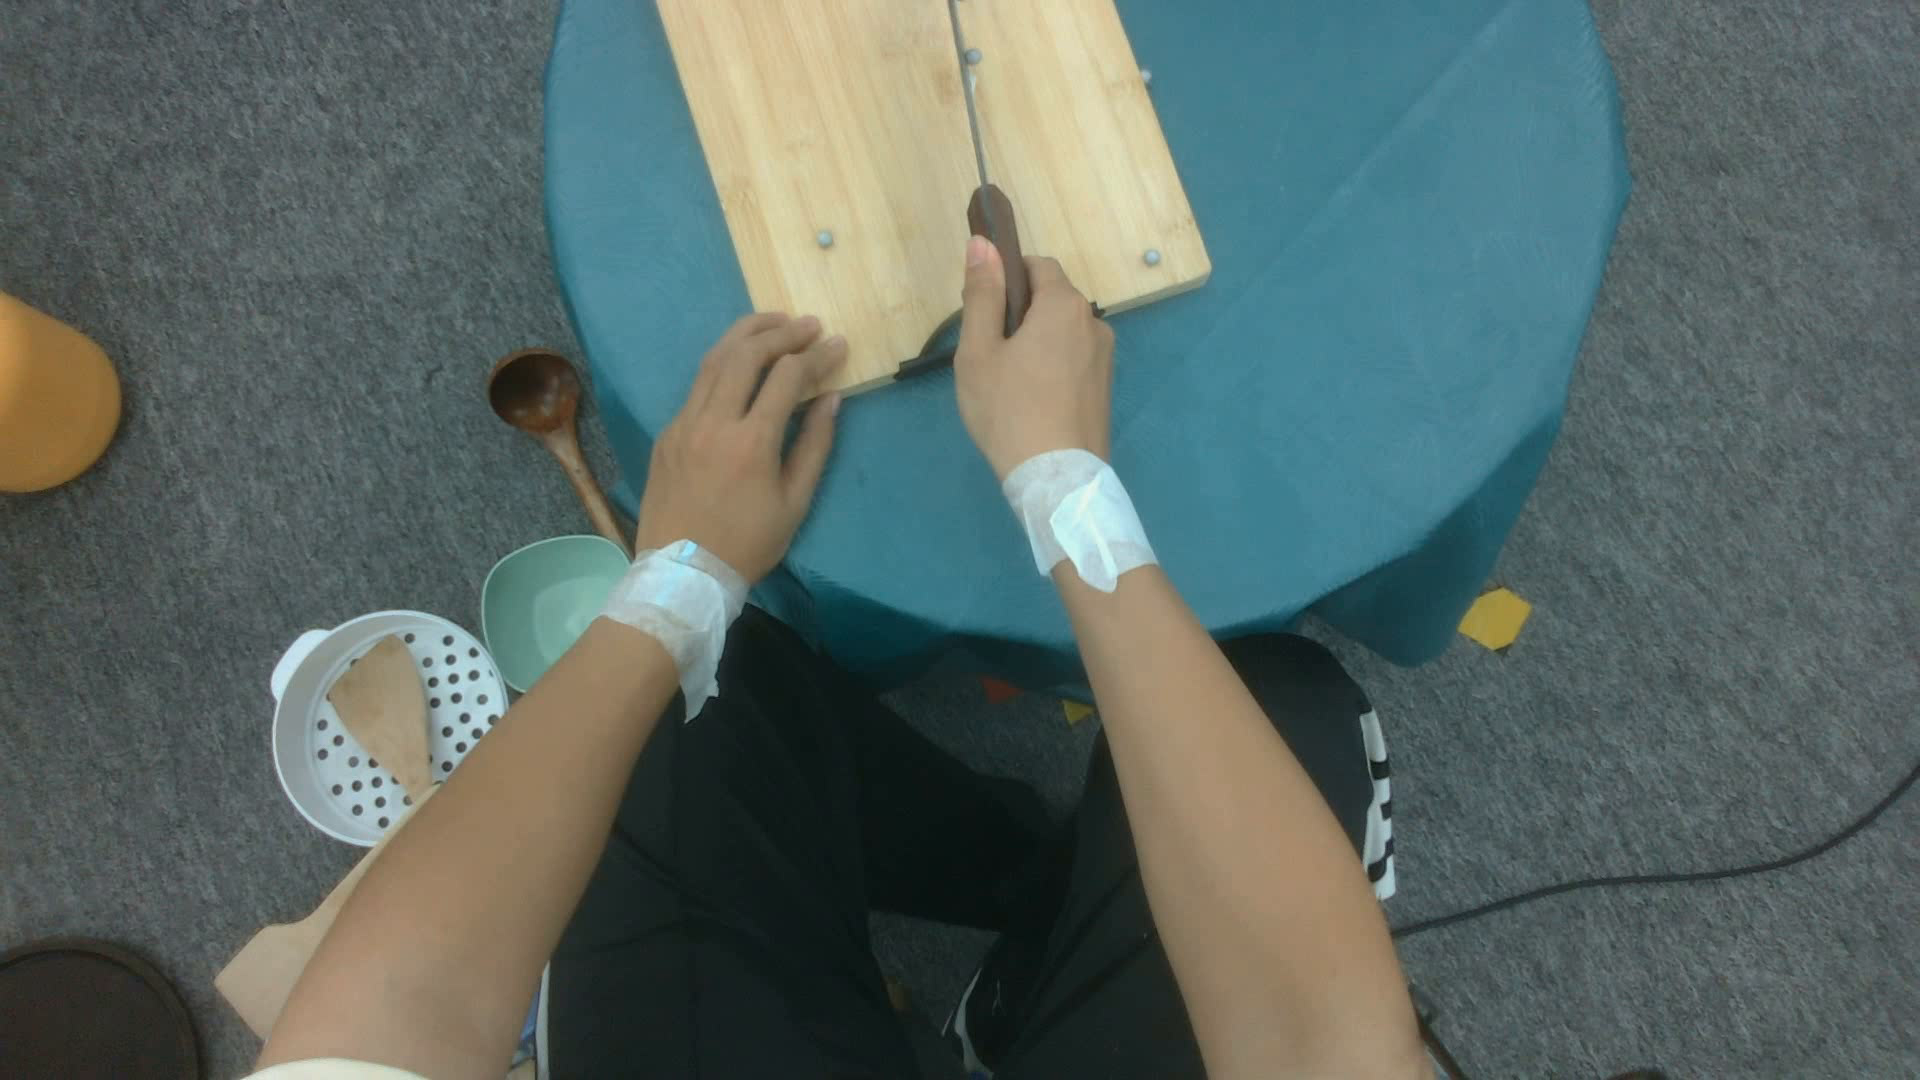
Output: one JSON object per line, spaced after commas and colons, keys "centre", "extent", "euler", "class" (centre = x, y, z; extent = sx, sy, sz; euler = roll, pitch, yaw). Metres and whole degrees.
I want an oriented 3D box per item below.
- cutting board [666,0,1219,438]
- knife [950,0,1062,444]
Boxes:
{"centre": [-0.026, -0.254, 0.781], "extent": [0.251, 0.023, 0.349], "euler": [-19, 79, -4], "class": "cutting board"}
{"centre": [0.016, -0.187, 0.714], "extent": [0.024, 0.068, 0.300], "euler": [-12, 78, 6], "class": "knife"}
